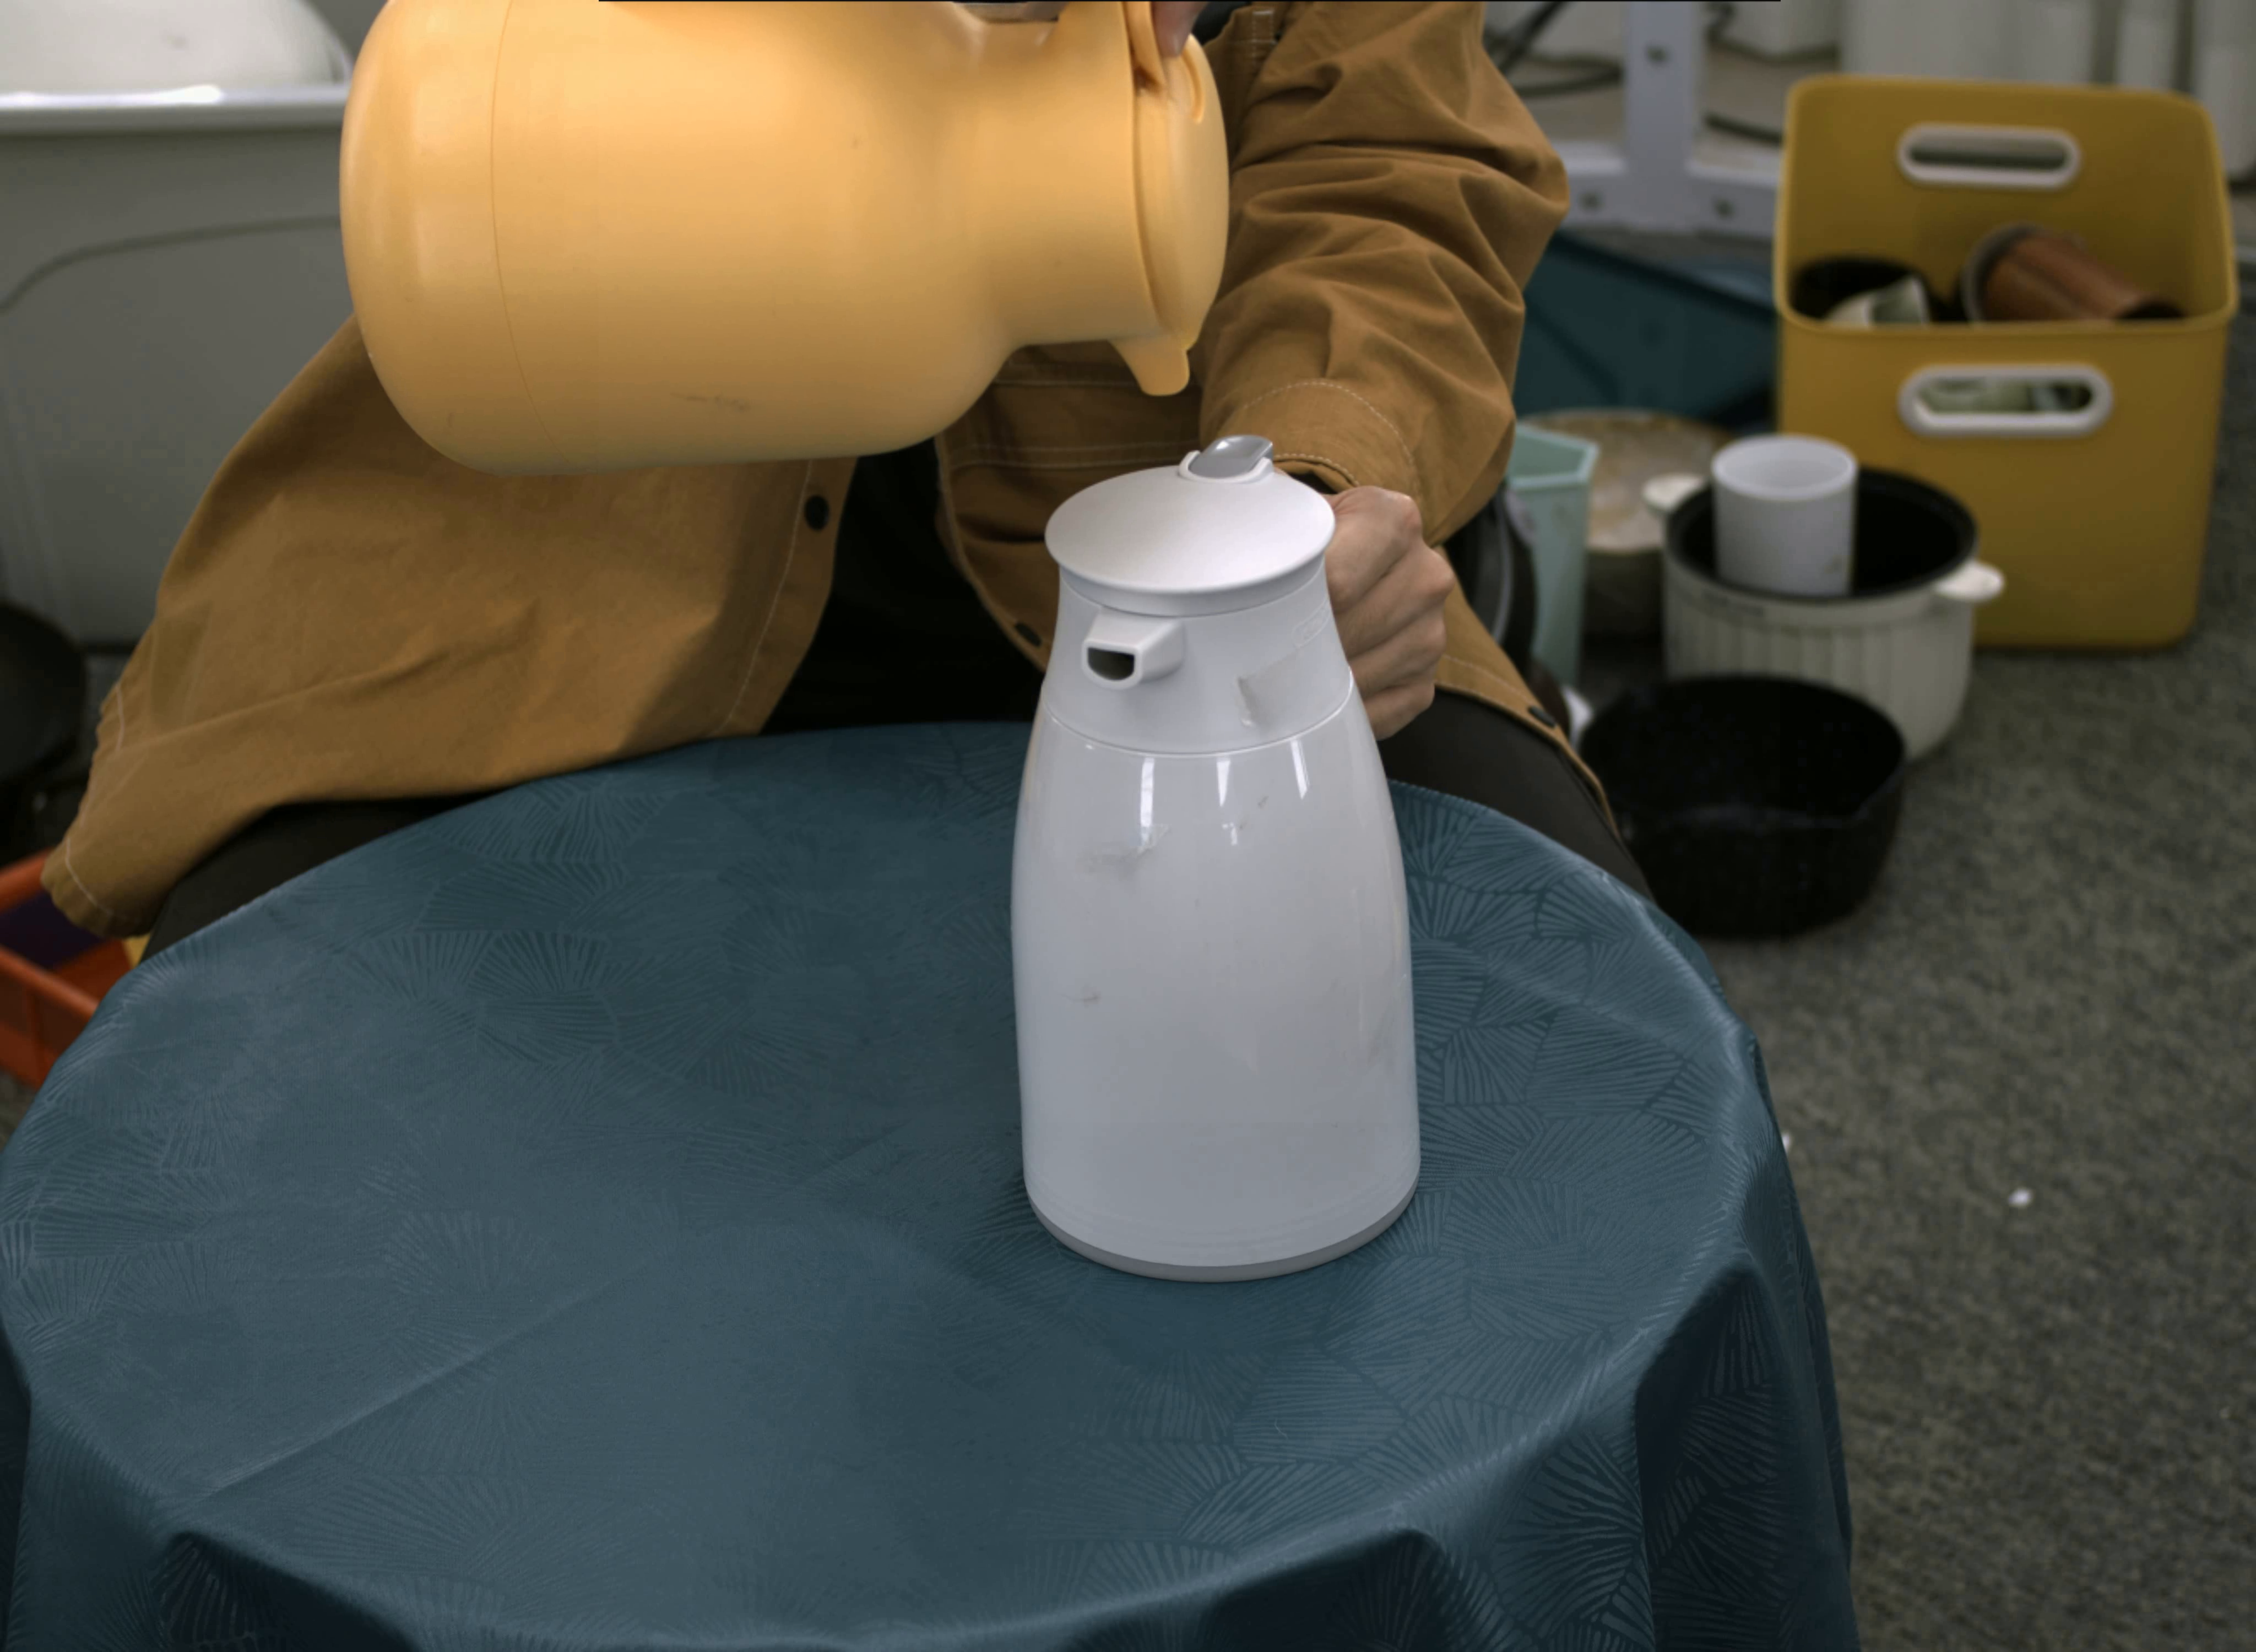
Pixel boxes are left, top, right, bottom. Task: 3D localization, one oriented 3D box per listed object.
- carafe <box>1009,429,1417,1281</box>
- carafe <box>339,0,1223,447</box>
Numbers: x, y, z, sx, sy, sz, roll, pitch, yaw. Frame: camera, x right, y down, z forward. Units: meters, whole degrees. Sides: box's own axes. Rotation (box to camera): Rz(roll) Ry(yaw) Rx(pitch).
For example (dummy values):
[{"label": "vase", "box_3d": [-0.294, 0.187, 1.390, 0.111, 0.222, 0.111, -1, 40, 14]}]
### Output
[{"label": "carafe", "box_3d": [0.031, -0.002, 1.828, 0.131, 0.246, 0.170, 8, 28, 22]}, {"label": "carafe", "box_3d": [-0.103, -0.215, 1.718, 0.258, 0.200, 0.166, 0, 33, 10]}]
